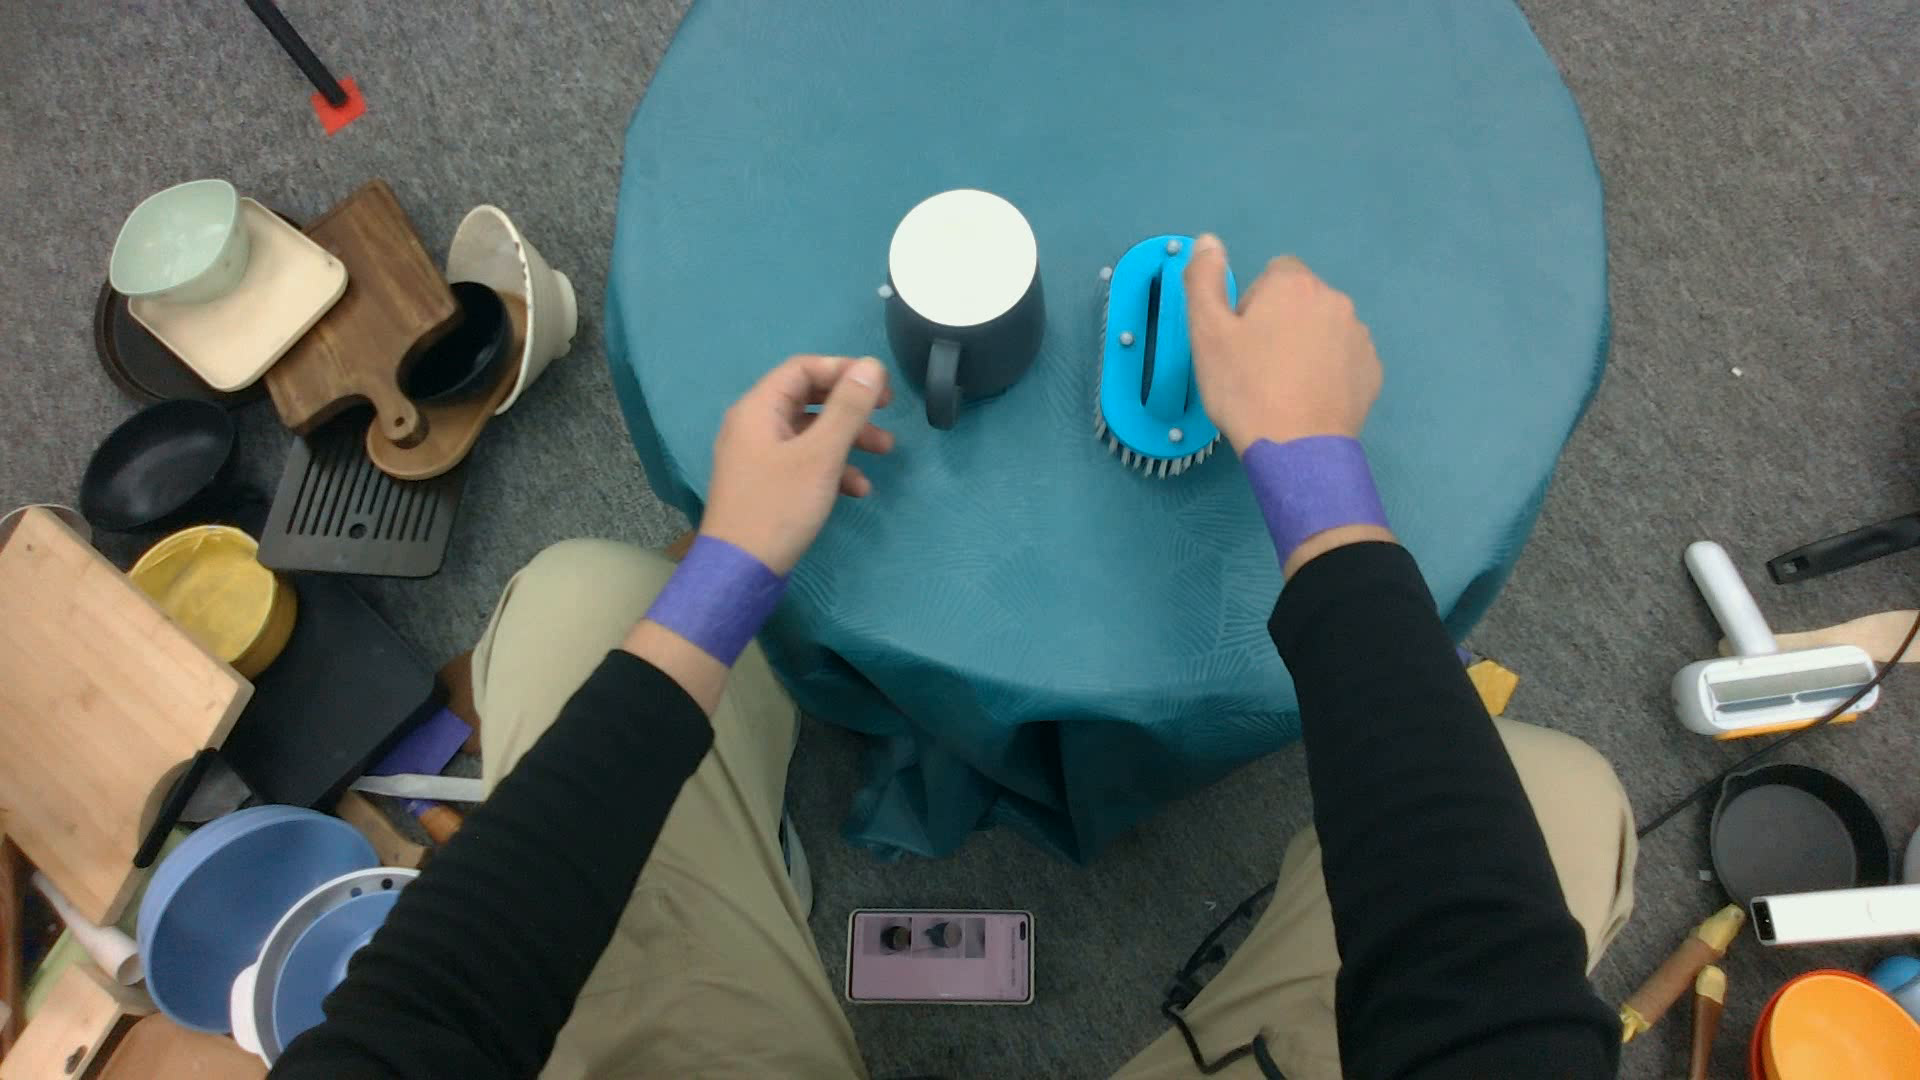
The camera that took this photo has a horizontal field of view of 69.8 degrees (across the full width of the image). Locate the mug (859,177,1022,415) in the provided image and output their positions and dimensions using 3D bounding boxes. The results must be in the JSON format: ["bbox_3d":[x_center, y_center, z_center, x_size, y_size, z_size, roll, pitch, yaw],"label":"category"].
[{"bbox_3d":[-0.015,-0.130,0.764,0.093,0.089,0.123,11,71,5],"label":"mug"}]

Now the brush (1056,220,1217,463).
[{"bbox_3d":[0.102,-0.118,0.775,0.084,0.063,0.142,8,73,-2],"label":"brush"}]
